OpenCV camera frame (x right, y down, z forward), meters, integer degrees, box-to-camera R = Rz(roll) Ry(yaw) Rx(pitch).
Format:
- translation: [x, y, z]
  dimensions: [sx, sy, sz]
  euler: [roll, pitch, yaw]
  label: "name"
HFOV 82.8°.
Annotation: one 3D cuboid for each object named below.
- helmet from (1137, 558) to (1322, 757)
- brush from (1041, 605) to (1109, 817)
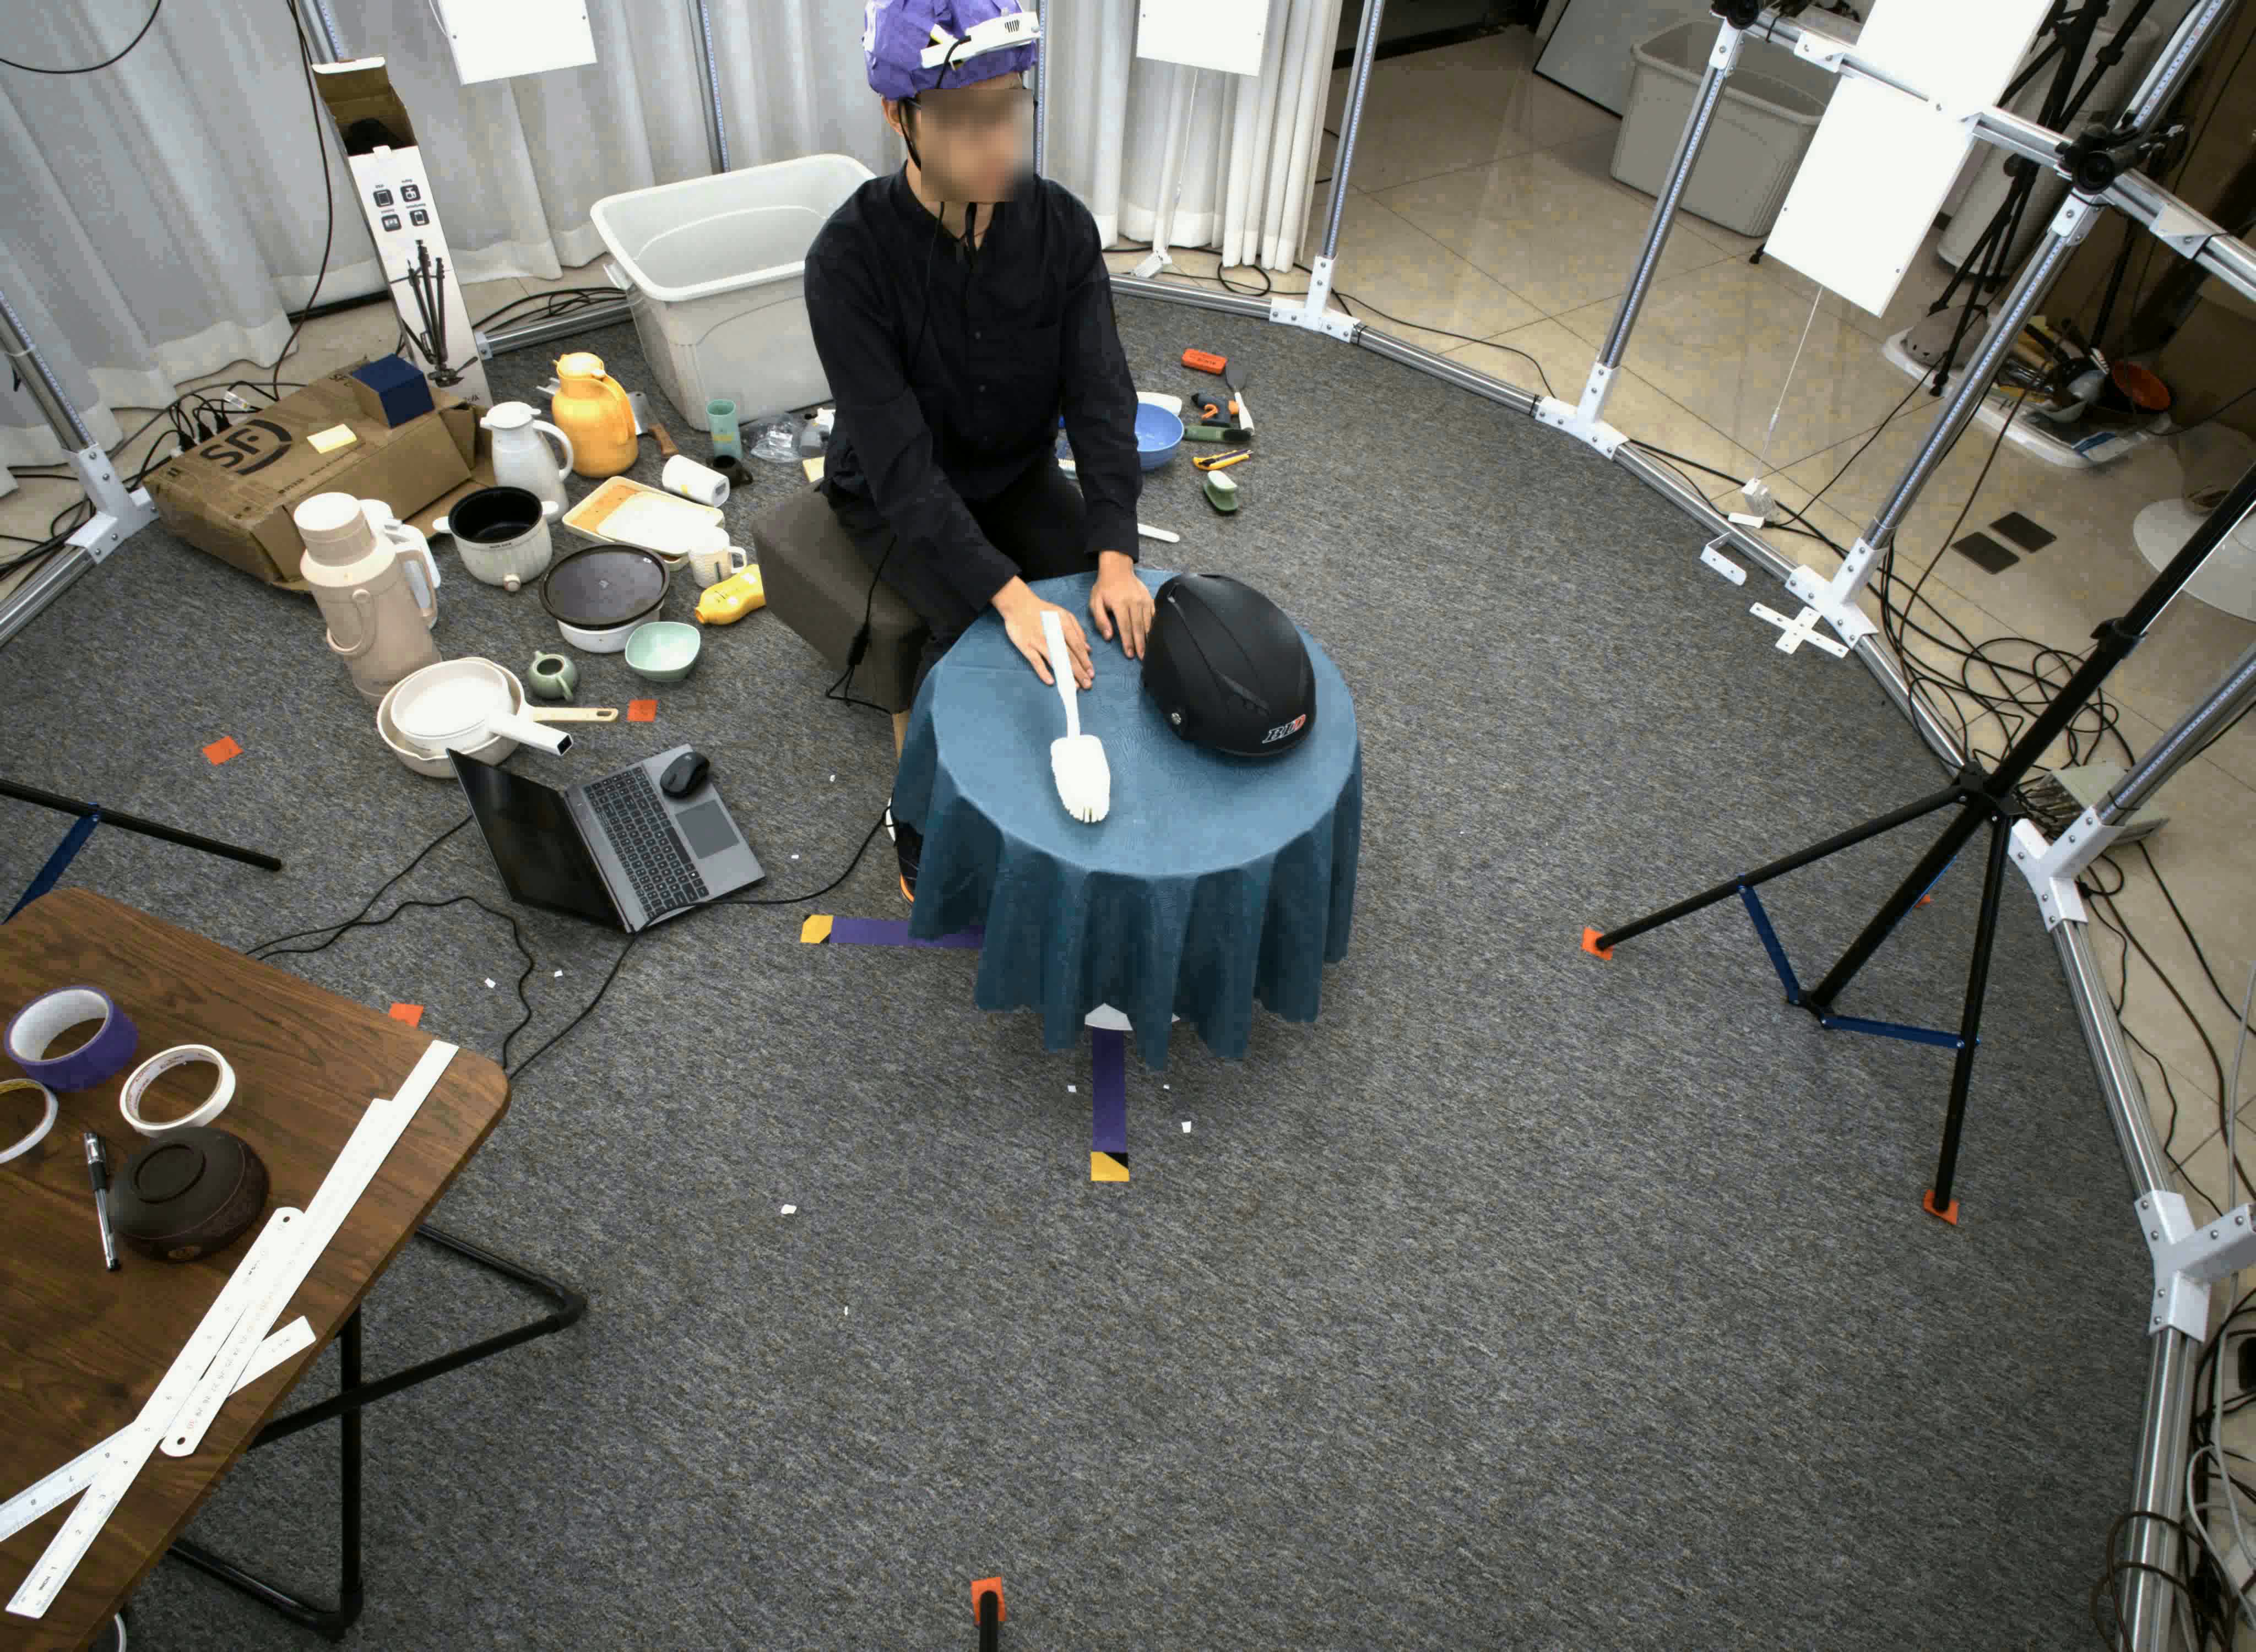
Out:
- translation: [0.144, -0.241, 1.782]
  dimensions: [0.247, 0.168, 0.282]
  euler: [-25, 58, -22]
  label: "helmet"
- translation: [-0.076, -0.154, 1.742]
  dimensions: [0.082, 0.083, 0.332]
  euler: [15, 52, -43]
  label: "brush"
